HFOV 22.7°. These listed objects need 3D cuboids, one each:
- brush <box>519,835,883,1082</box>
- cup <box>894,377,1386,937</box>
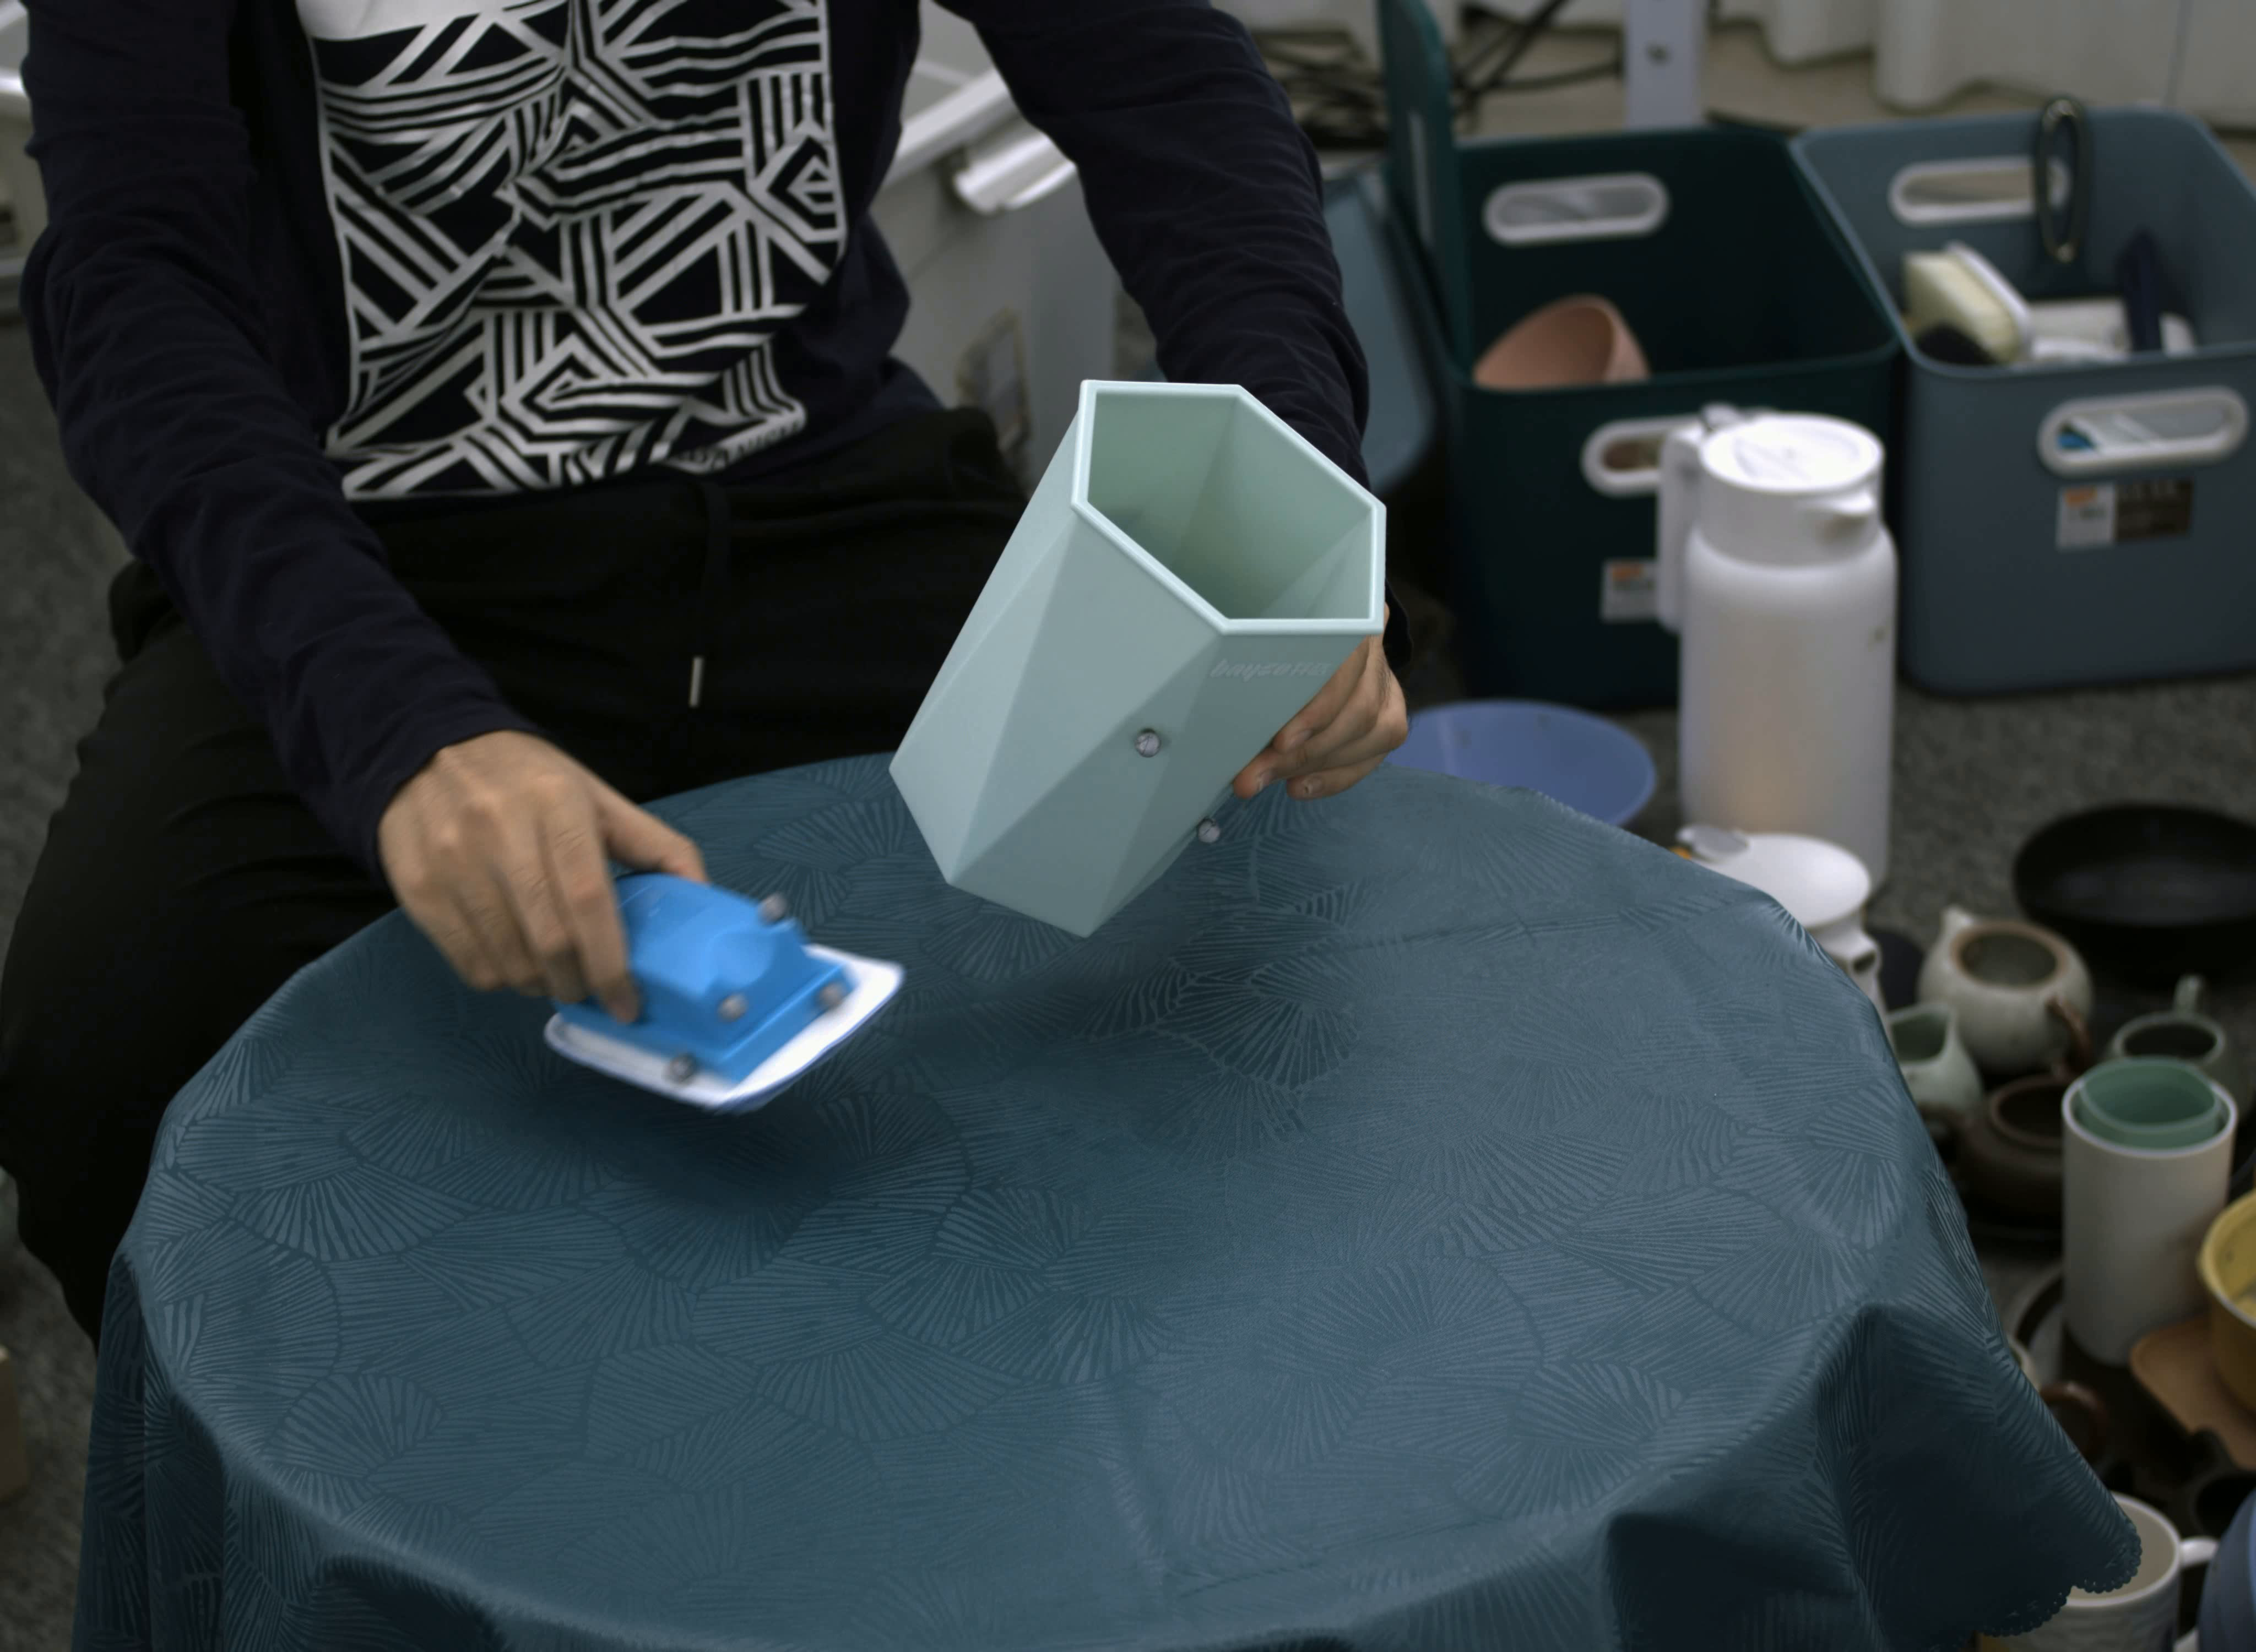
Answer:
[{"bbox_3d":[-0.149,0.042,1.894,0.085,0.055,0.143,-34,28,-25],"label":"brush"},{"bbox_3d":[0.001,-0.053,1.902,0.131,0.160,0.116,-3,48,-38],"label":"cup"}]
